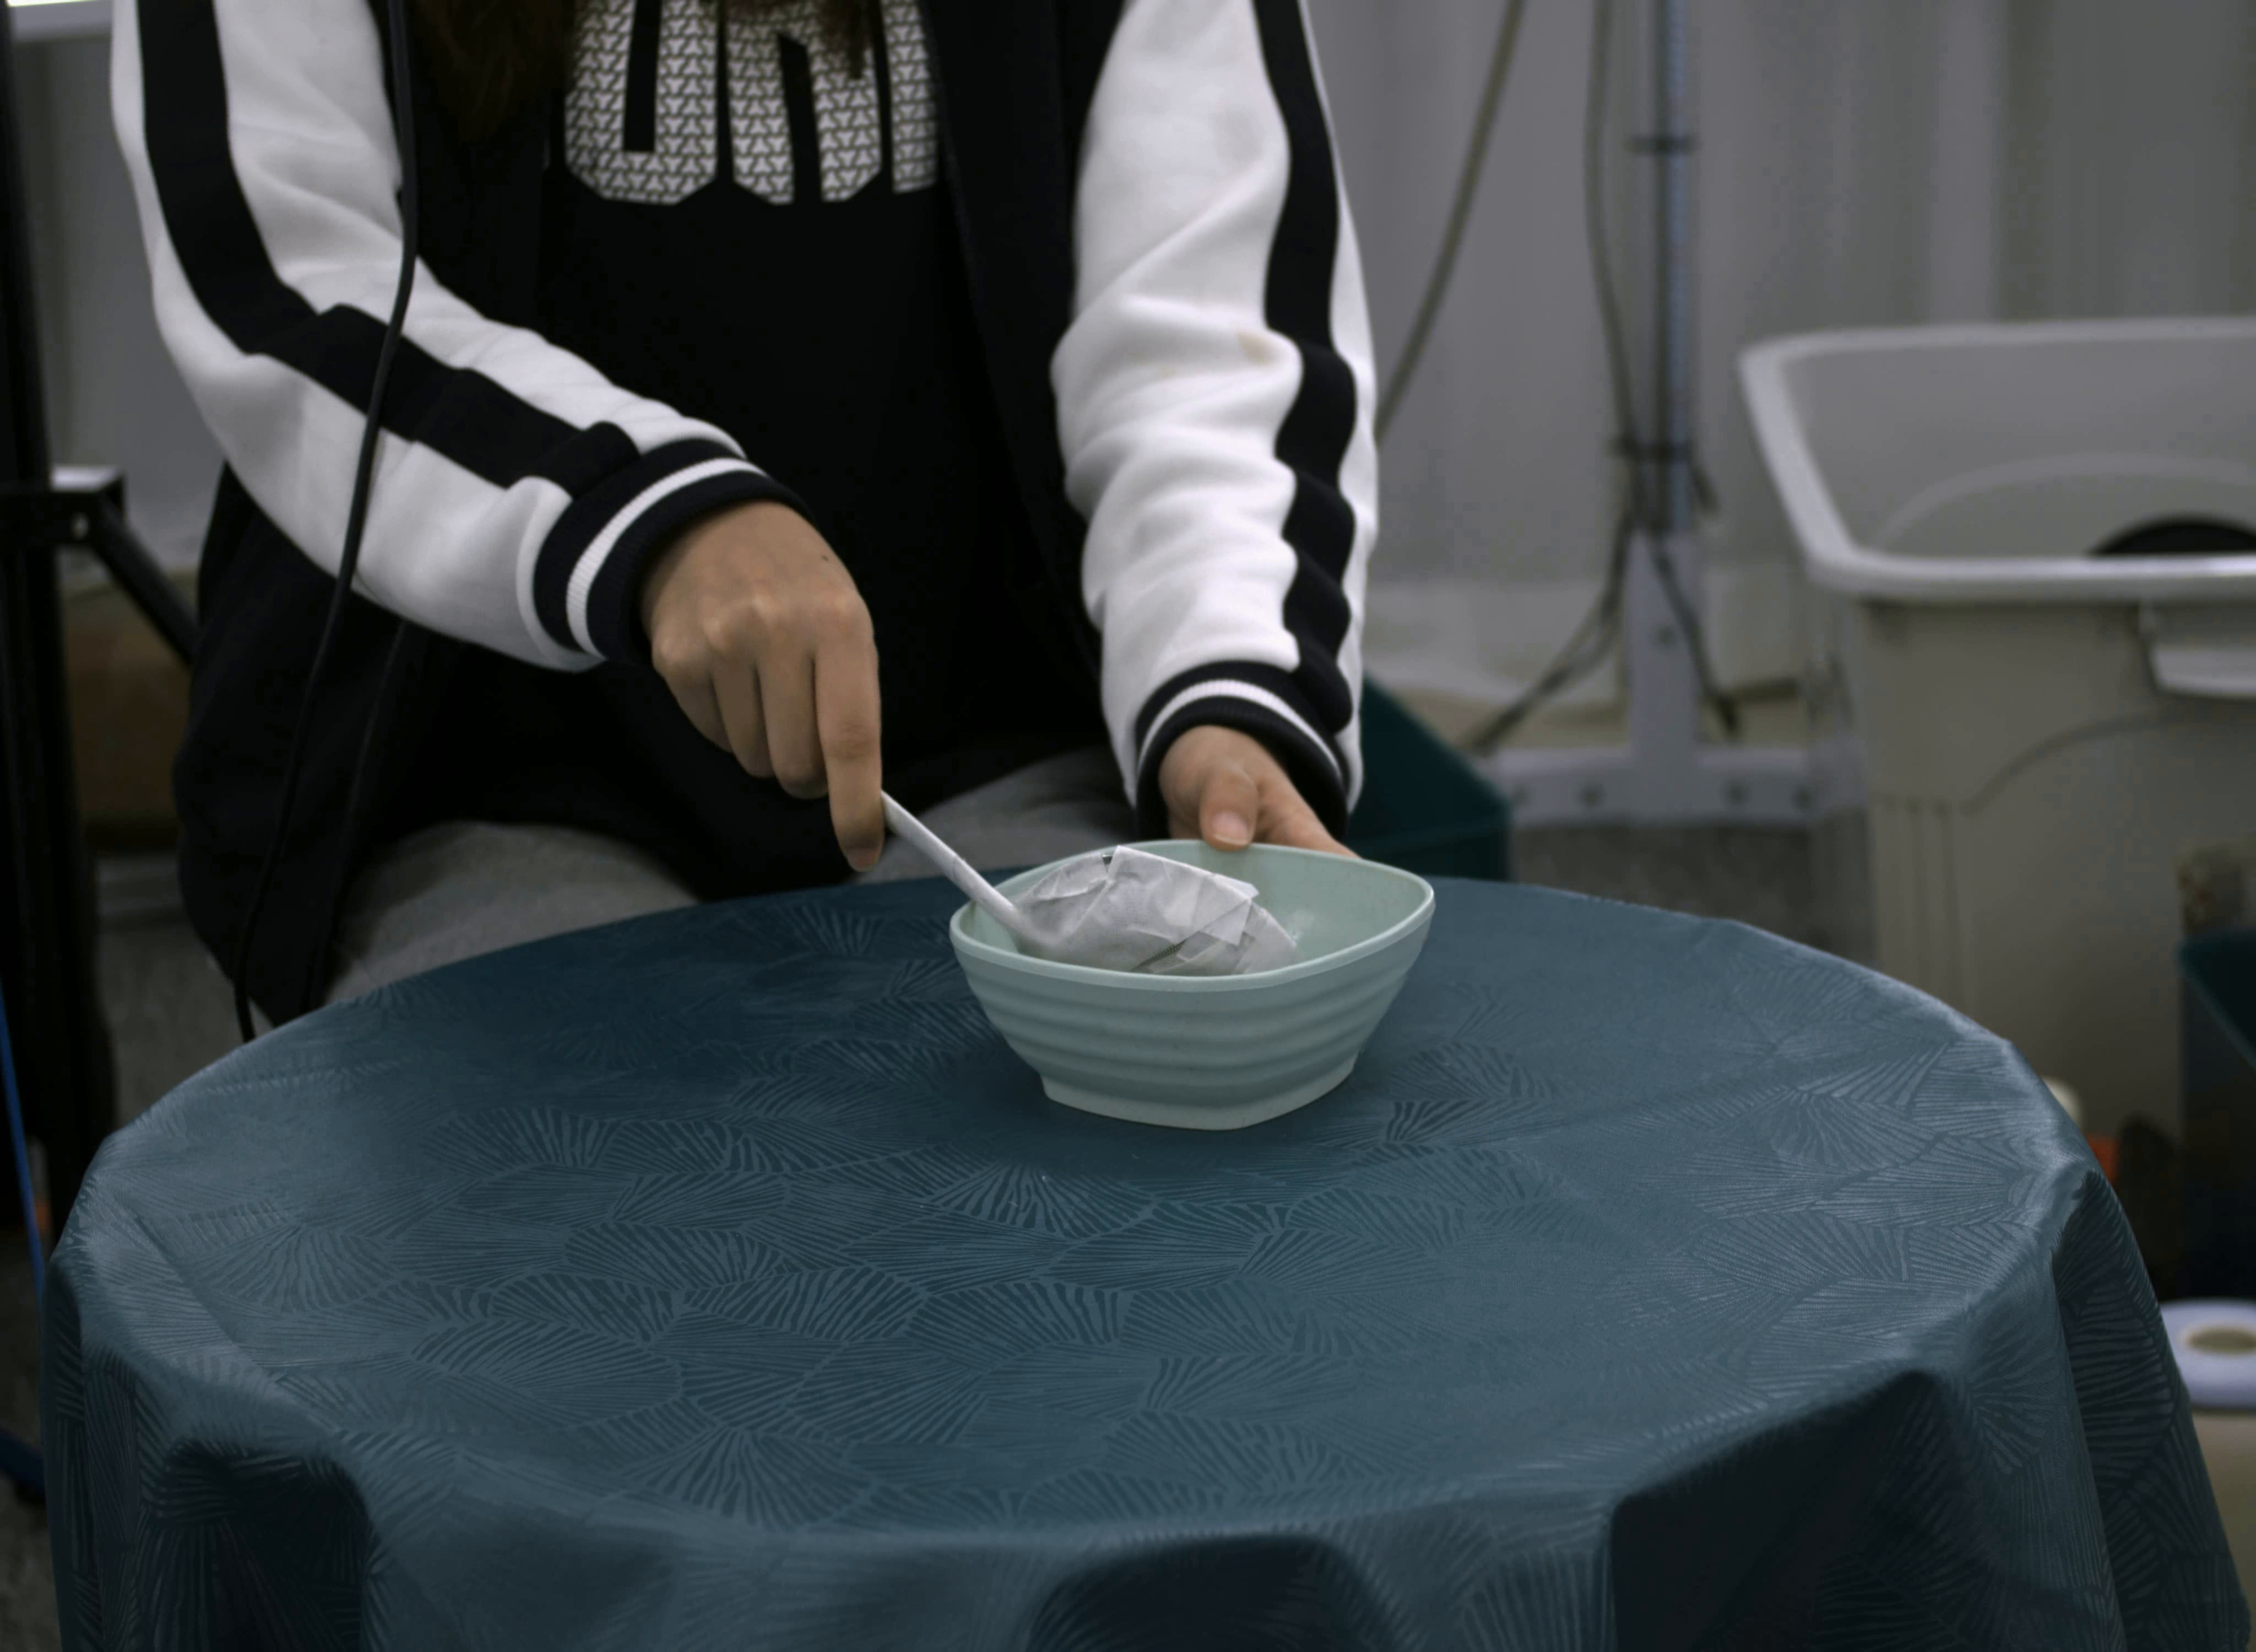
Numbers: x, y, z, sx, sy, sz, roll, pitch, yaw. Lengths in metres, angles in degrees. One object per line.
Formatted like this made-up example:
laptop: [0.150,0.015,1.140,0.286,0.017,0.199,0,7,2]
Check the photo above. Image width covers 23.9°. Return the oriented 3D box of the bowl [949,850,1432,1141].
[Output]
bowl: [0.021,0.055,1.647,0.150,0.058,0.152,-3,15,-1]

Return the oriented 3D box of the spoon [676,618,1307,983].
spoon: [-0.047,-0.006,1.685,0.058,0.100,0.284,-27,43,-23]
